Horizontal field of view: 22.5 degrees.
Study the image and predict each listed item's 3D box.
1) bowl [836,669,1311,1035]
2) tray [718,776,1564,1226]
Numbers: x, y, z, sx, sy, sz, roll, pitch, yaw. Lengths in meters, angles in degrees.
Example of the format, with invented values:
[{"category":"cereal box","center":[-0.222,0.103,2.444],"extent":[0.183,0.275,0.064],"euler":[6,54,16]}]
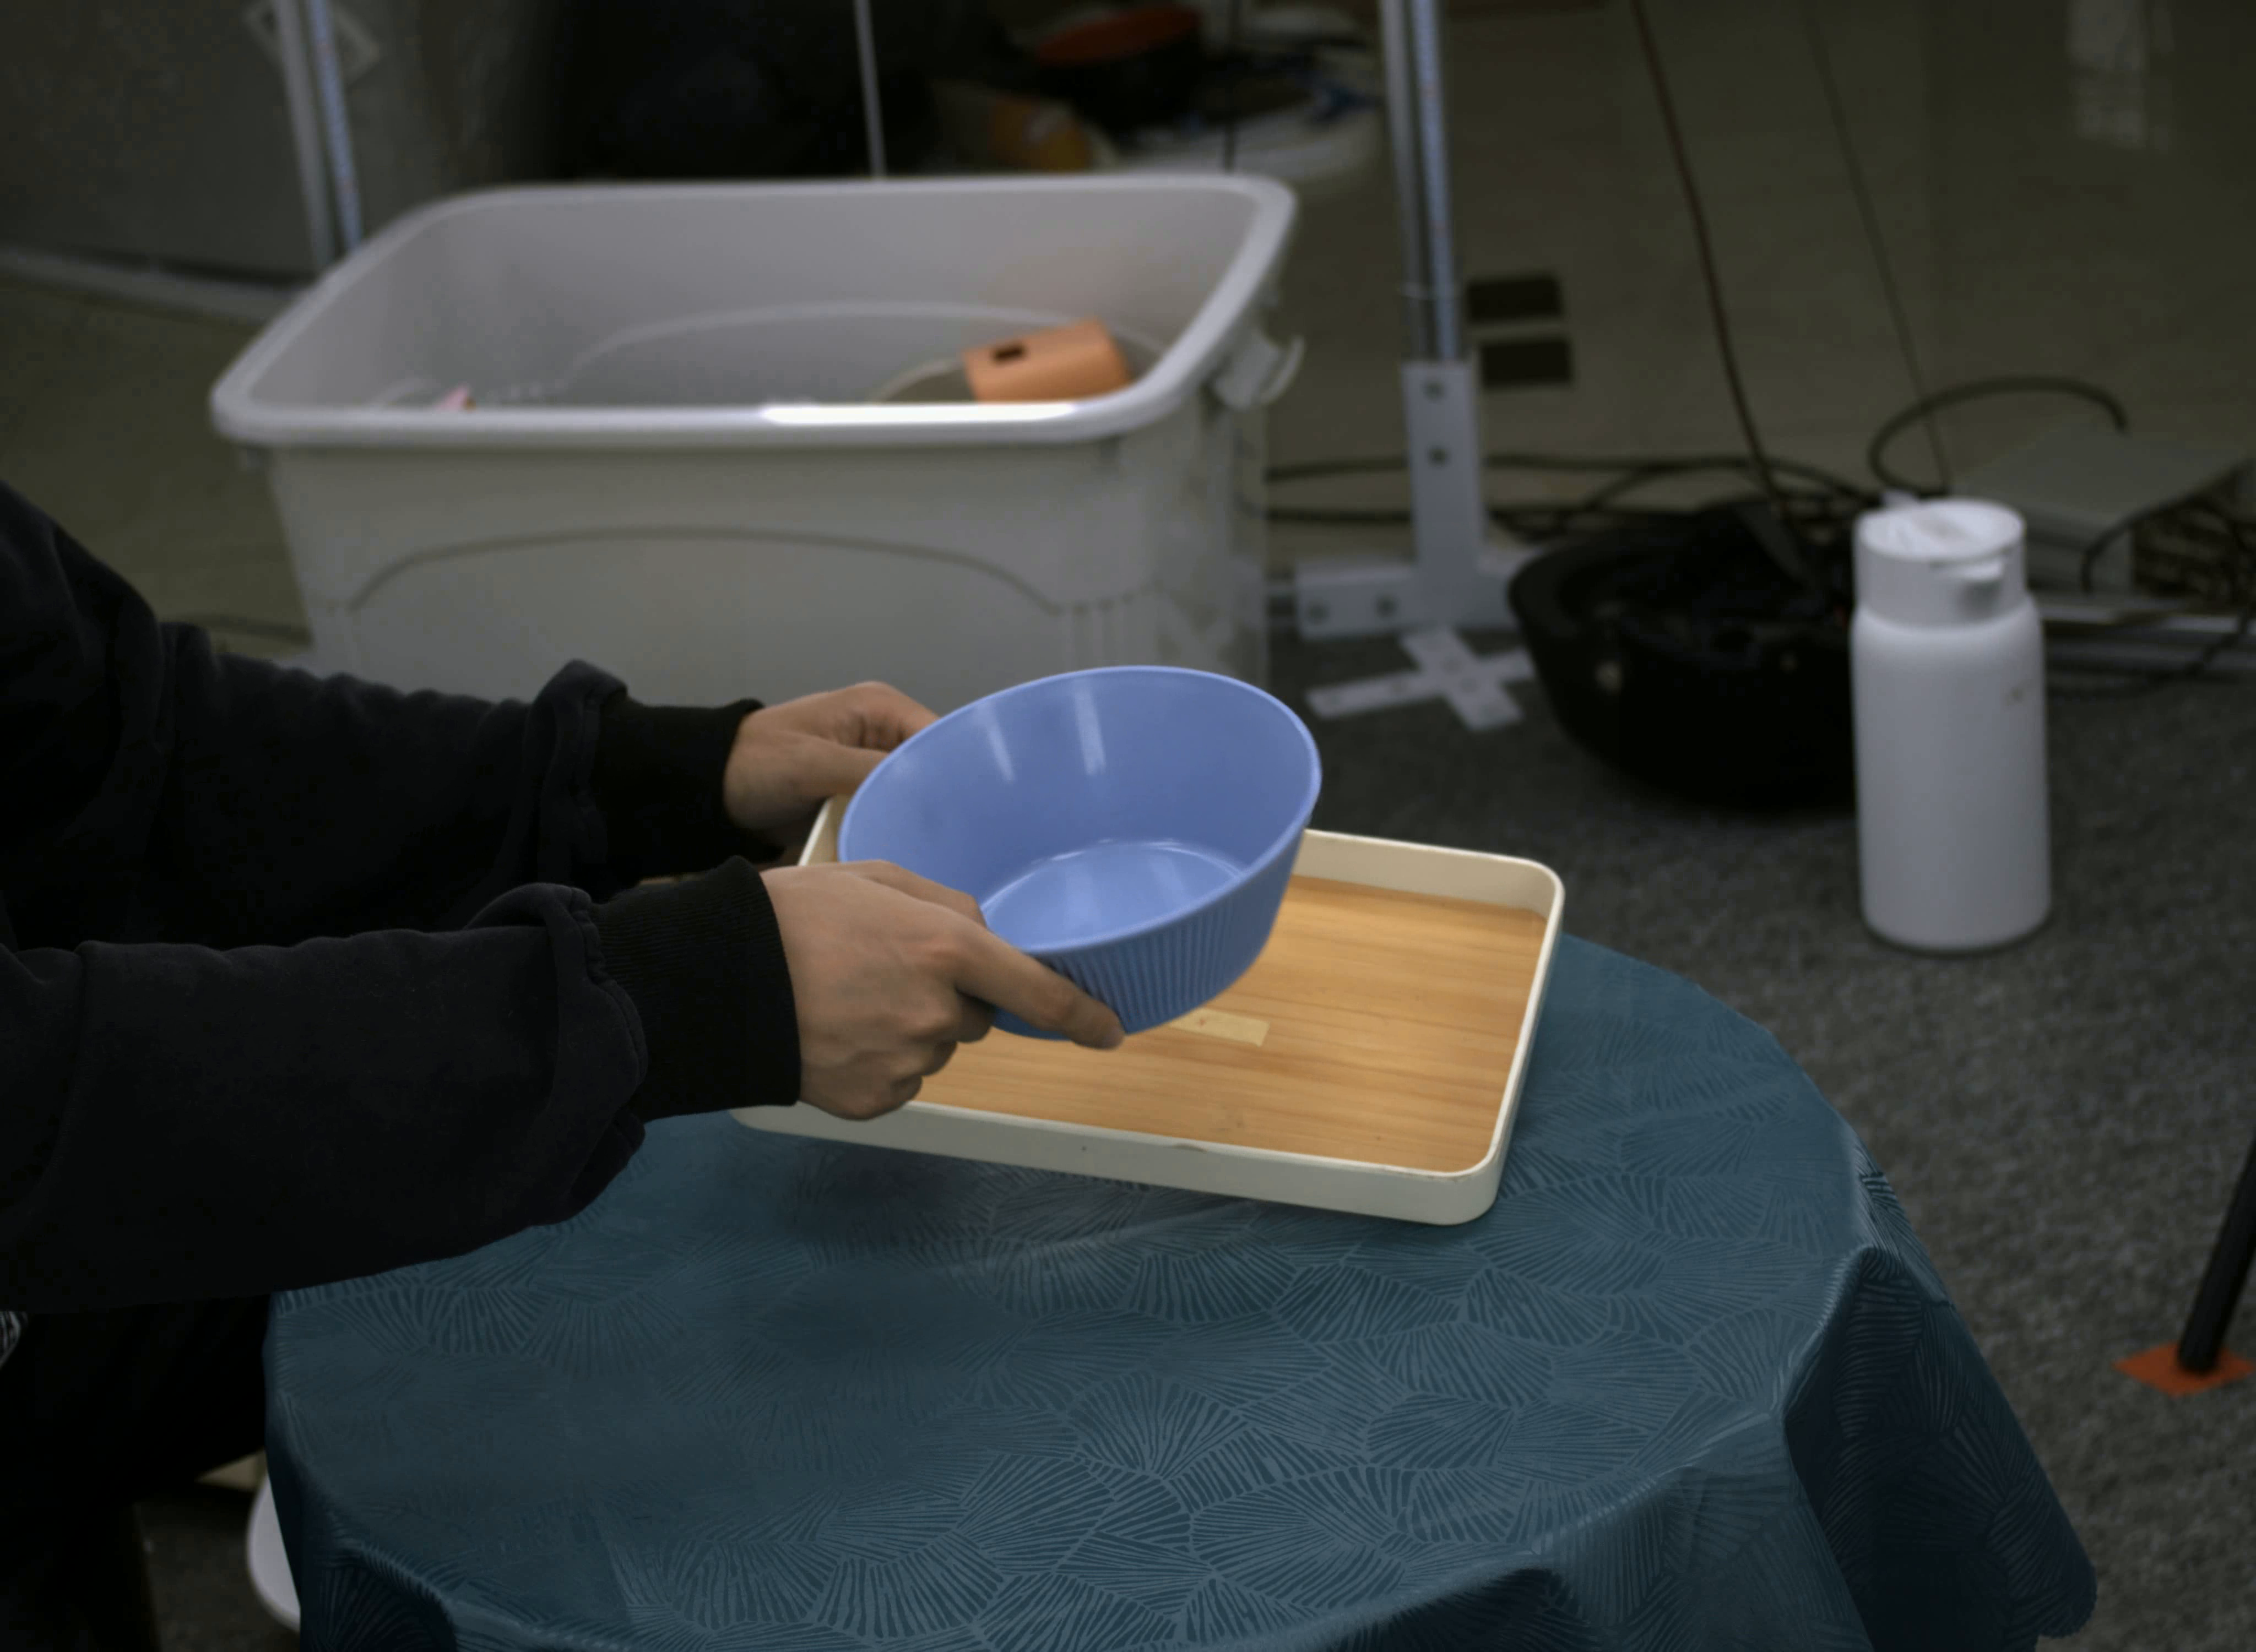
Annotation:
[{"category":"bowl","center":[-0.014,0.017,2.052],"extent":[0.176,0.071,0.173],"euler":[-10,32,6]},{"category":"tray","center":[0.007,0.065,2.186],"extent":[0.299,0.028,0.188],"euler":[8,41,10]}]
